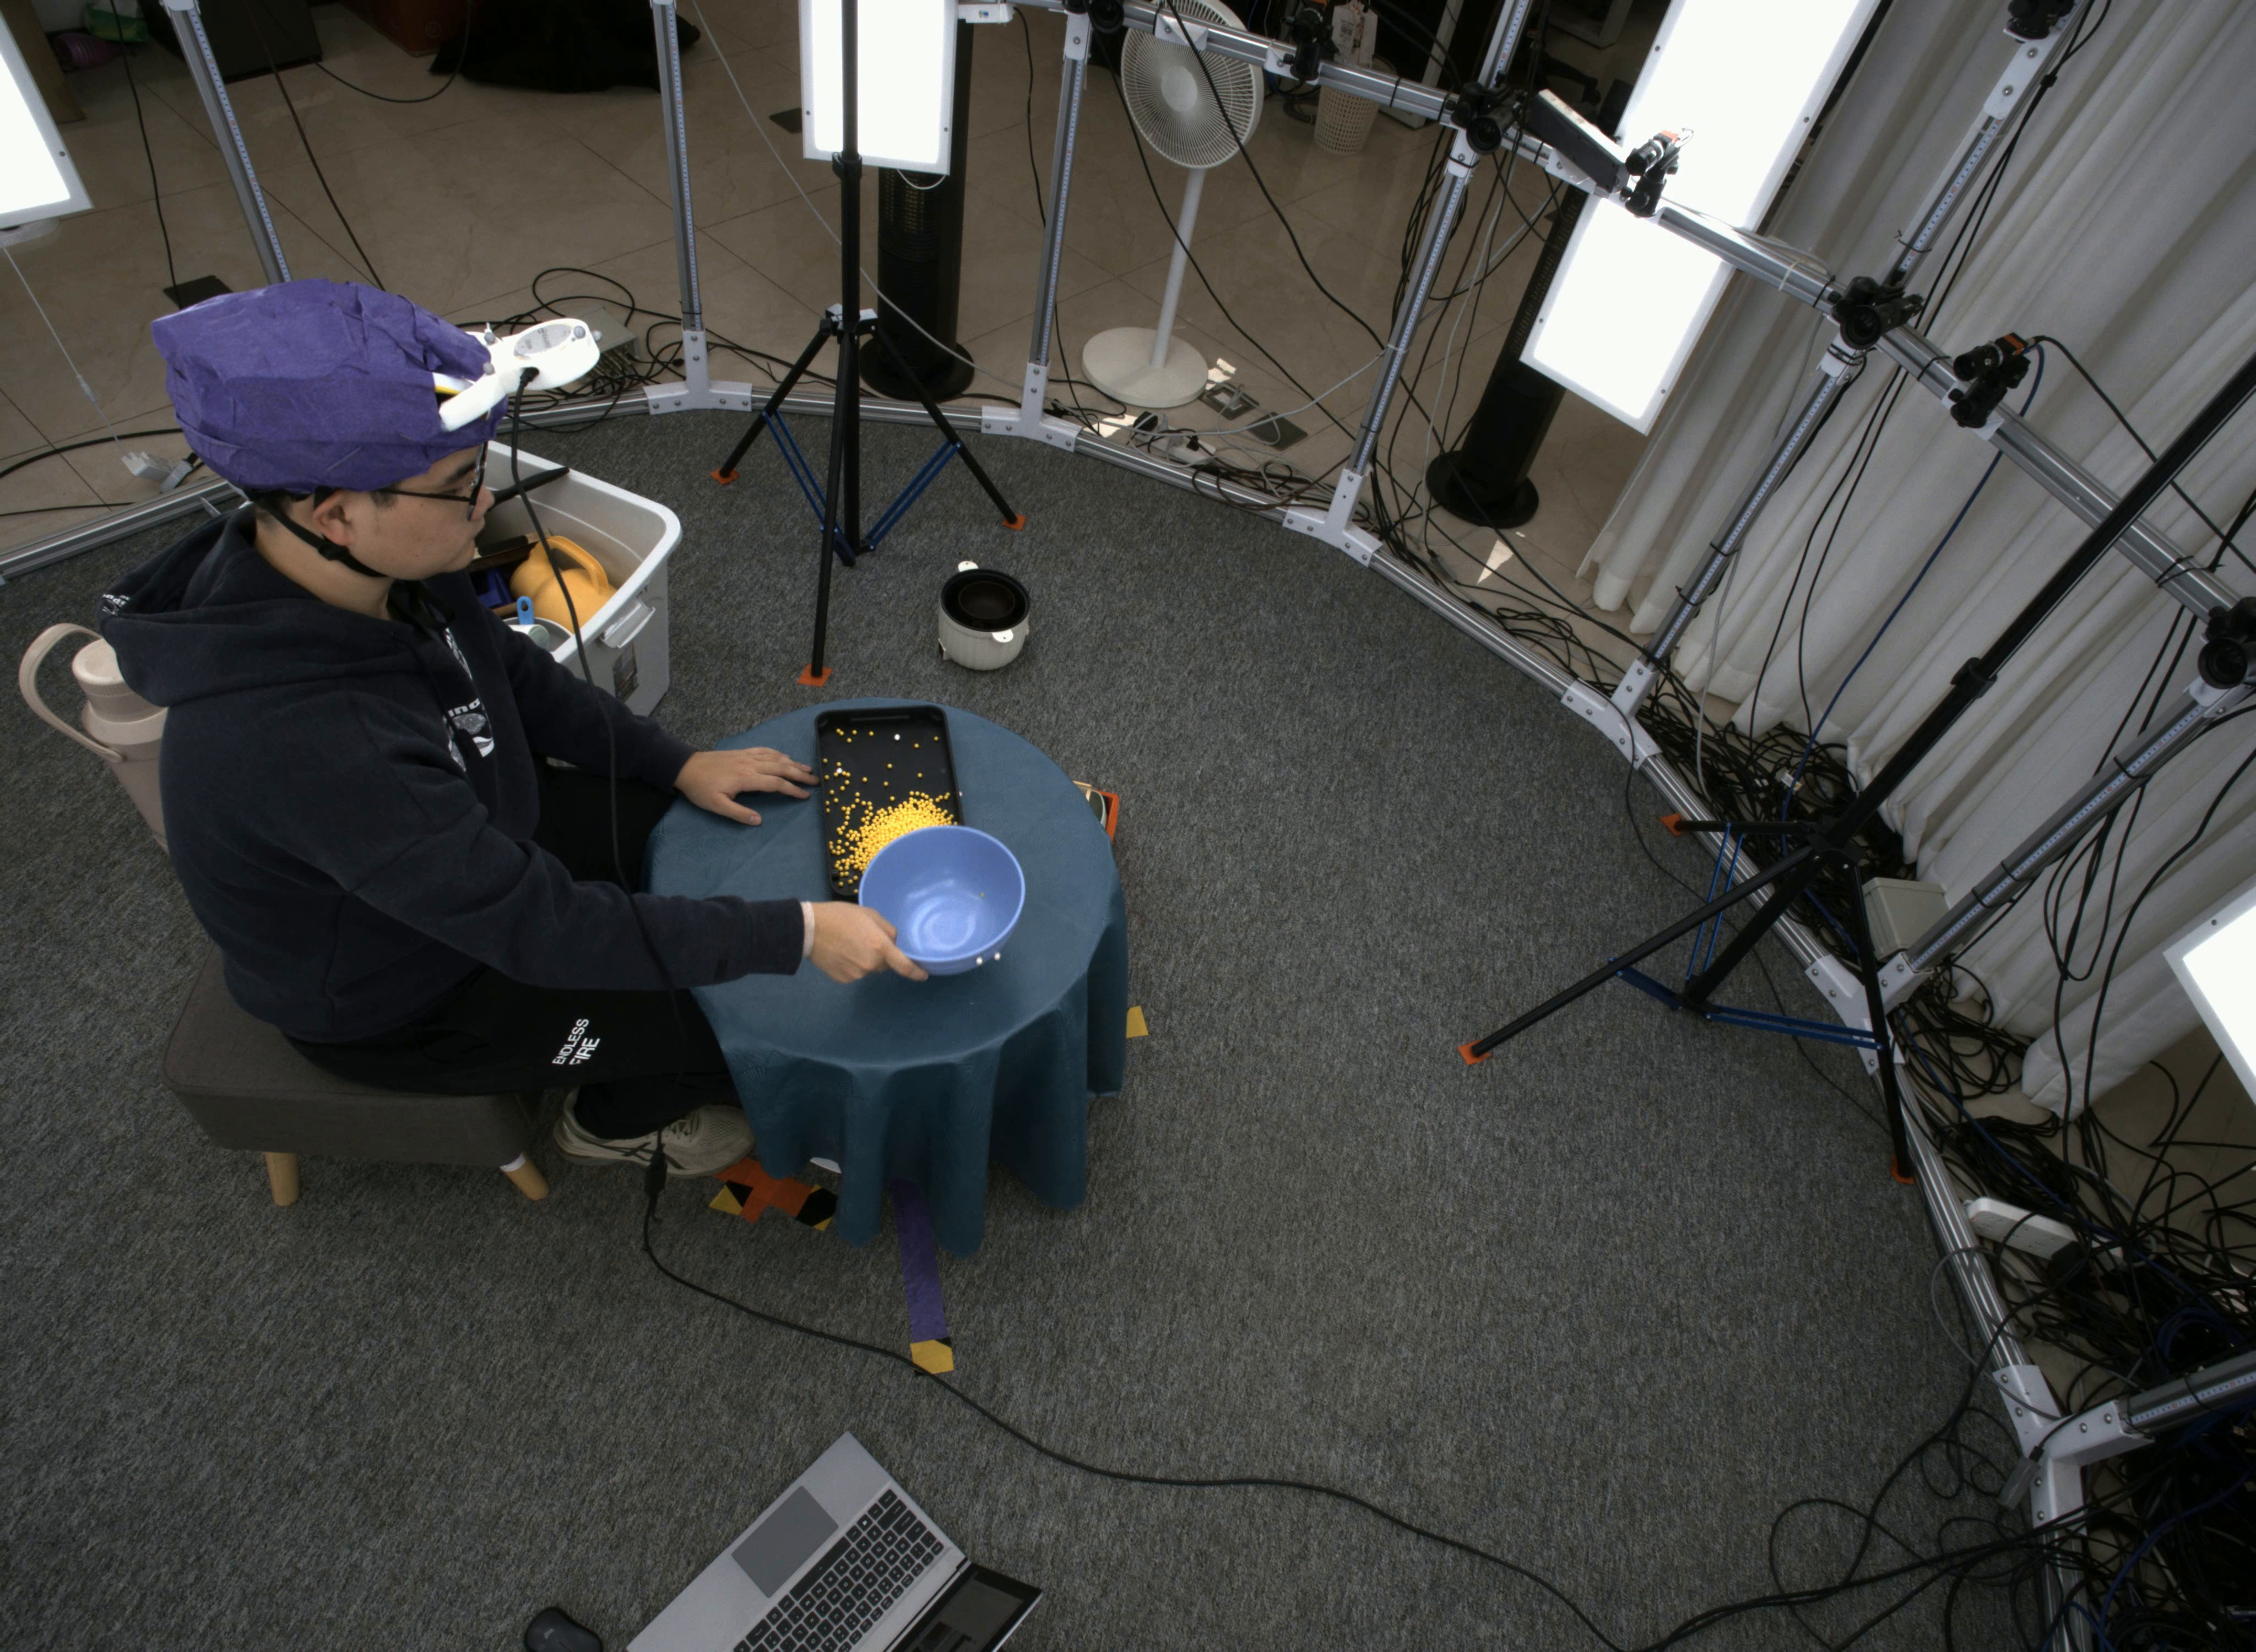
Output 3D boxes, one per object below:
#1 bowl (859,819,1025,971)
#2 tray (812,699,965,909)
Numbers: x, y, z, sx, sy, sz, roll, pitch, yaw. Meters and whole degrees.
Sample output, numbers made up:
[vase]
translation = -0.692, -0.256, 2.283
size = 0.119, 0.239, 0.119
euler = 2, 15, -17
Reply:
[bowl]
translation = -0.221, 0.097, 1.572
size = 0.195, 0.098, 0.193
euler = 4, 54, -3
[tray]
translation = -0.320, -0.037, 1.752
size = 0.185, 0.038, 0.311
euler = -5, 56, -17
